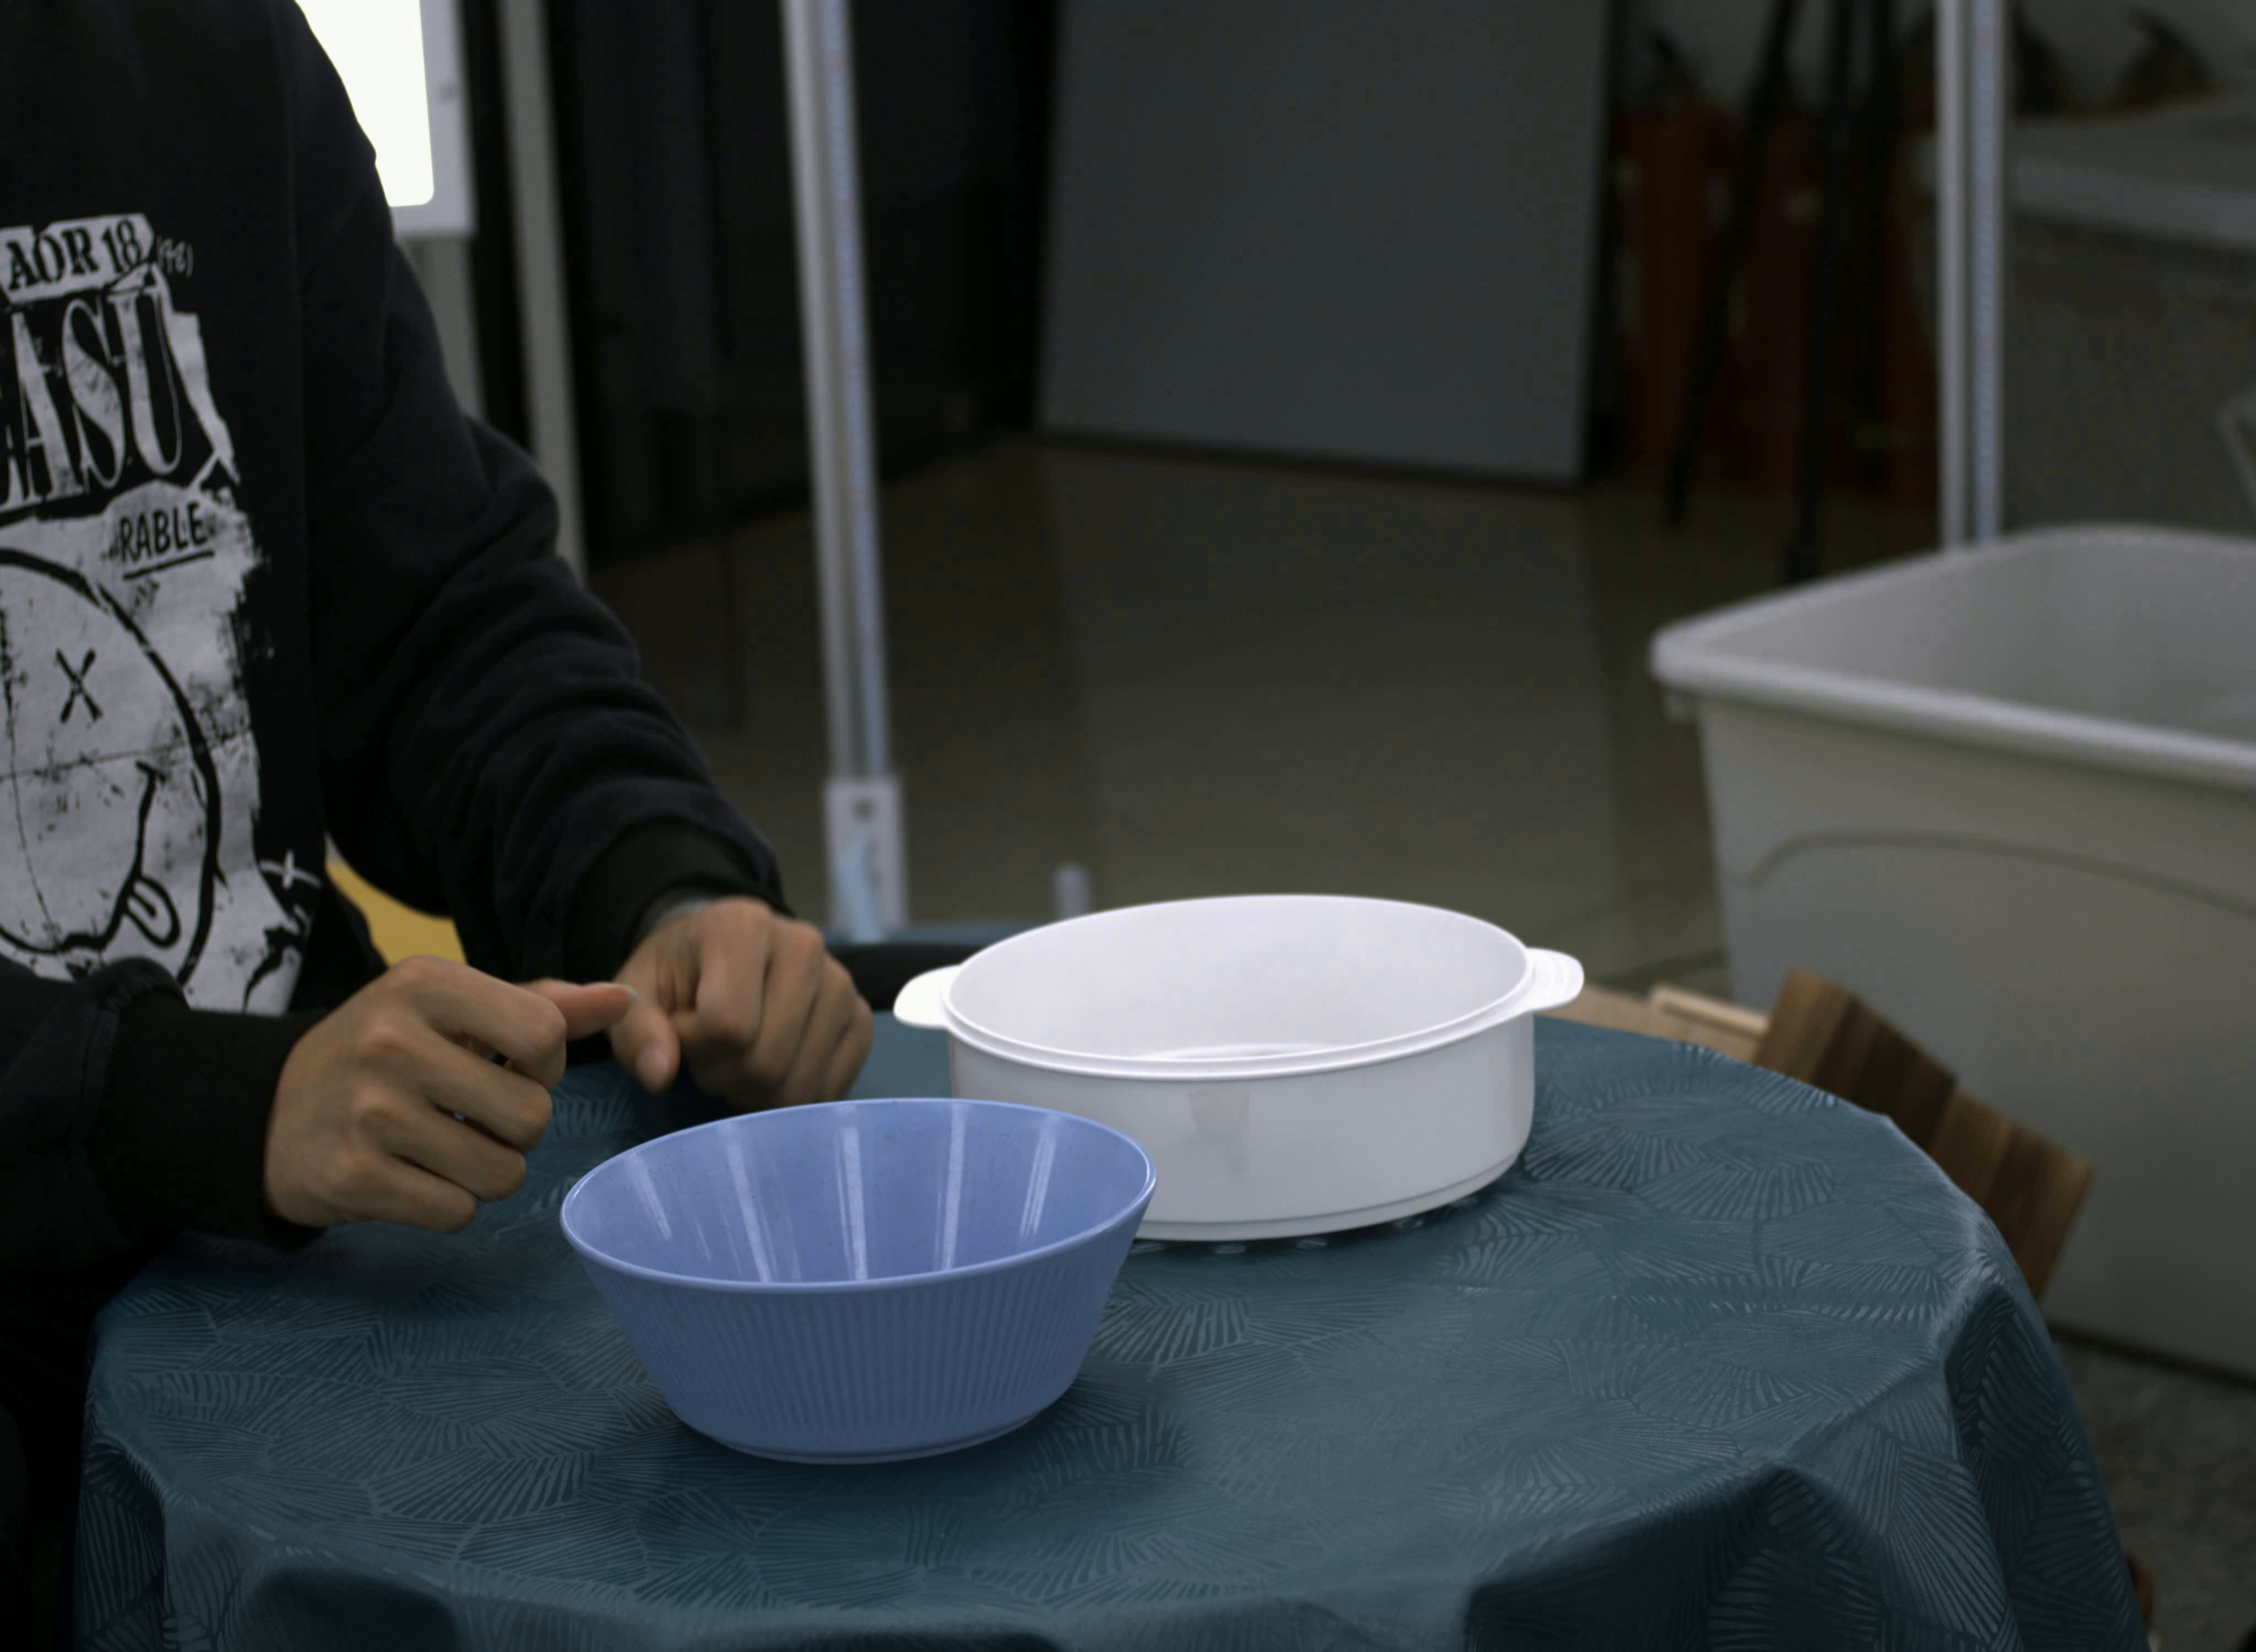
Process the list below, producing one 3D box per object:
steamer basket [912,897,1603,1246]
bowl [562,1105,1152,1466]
[{"bbox_3d":[0.043,0.080,1.781,0.228,0.070,0.201,0,14,6],"label":"steamer basket"},{"bbox_3d":[-0.077,0.137,1.582,0.174,0.071,0.176,-4,13,0],"label":"bowl"}]
